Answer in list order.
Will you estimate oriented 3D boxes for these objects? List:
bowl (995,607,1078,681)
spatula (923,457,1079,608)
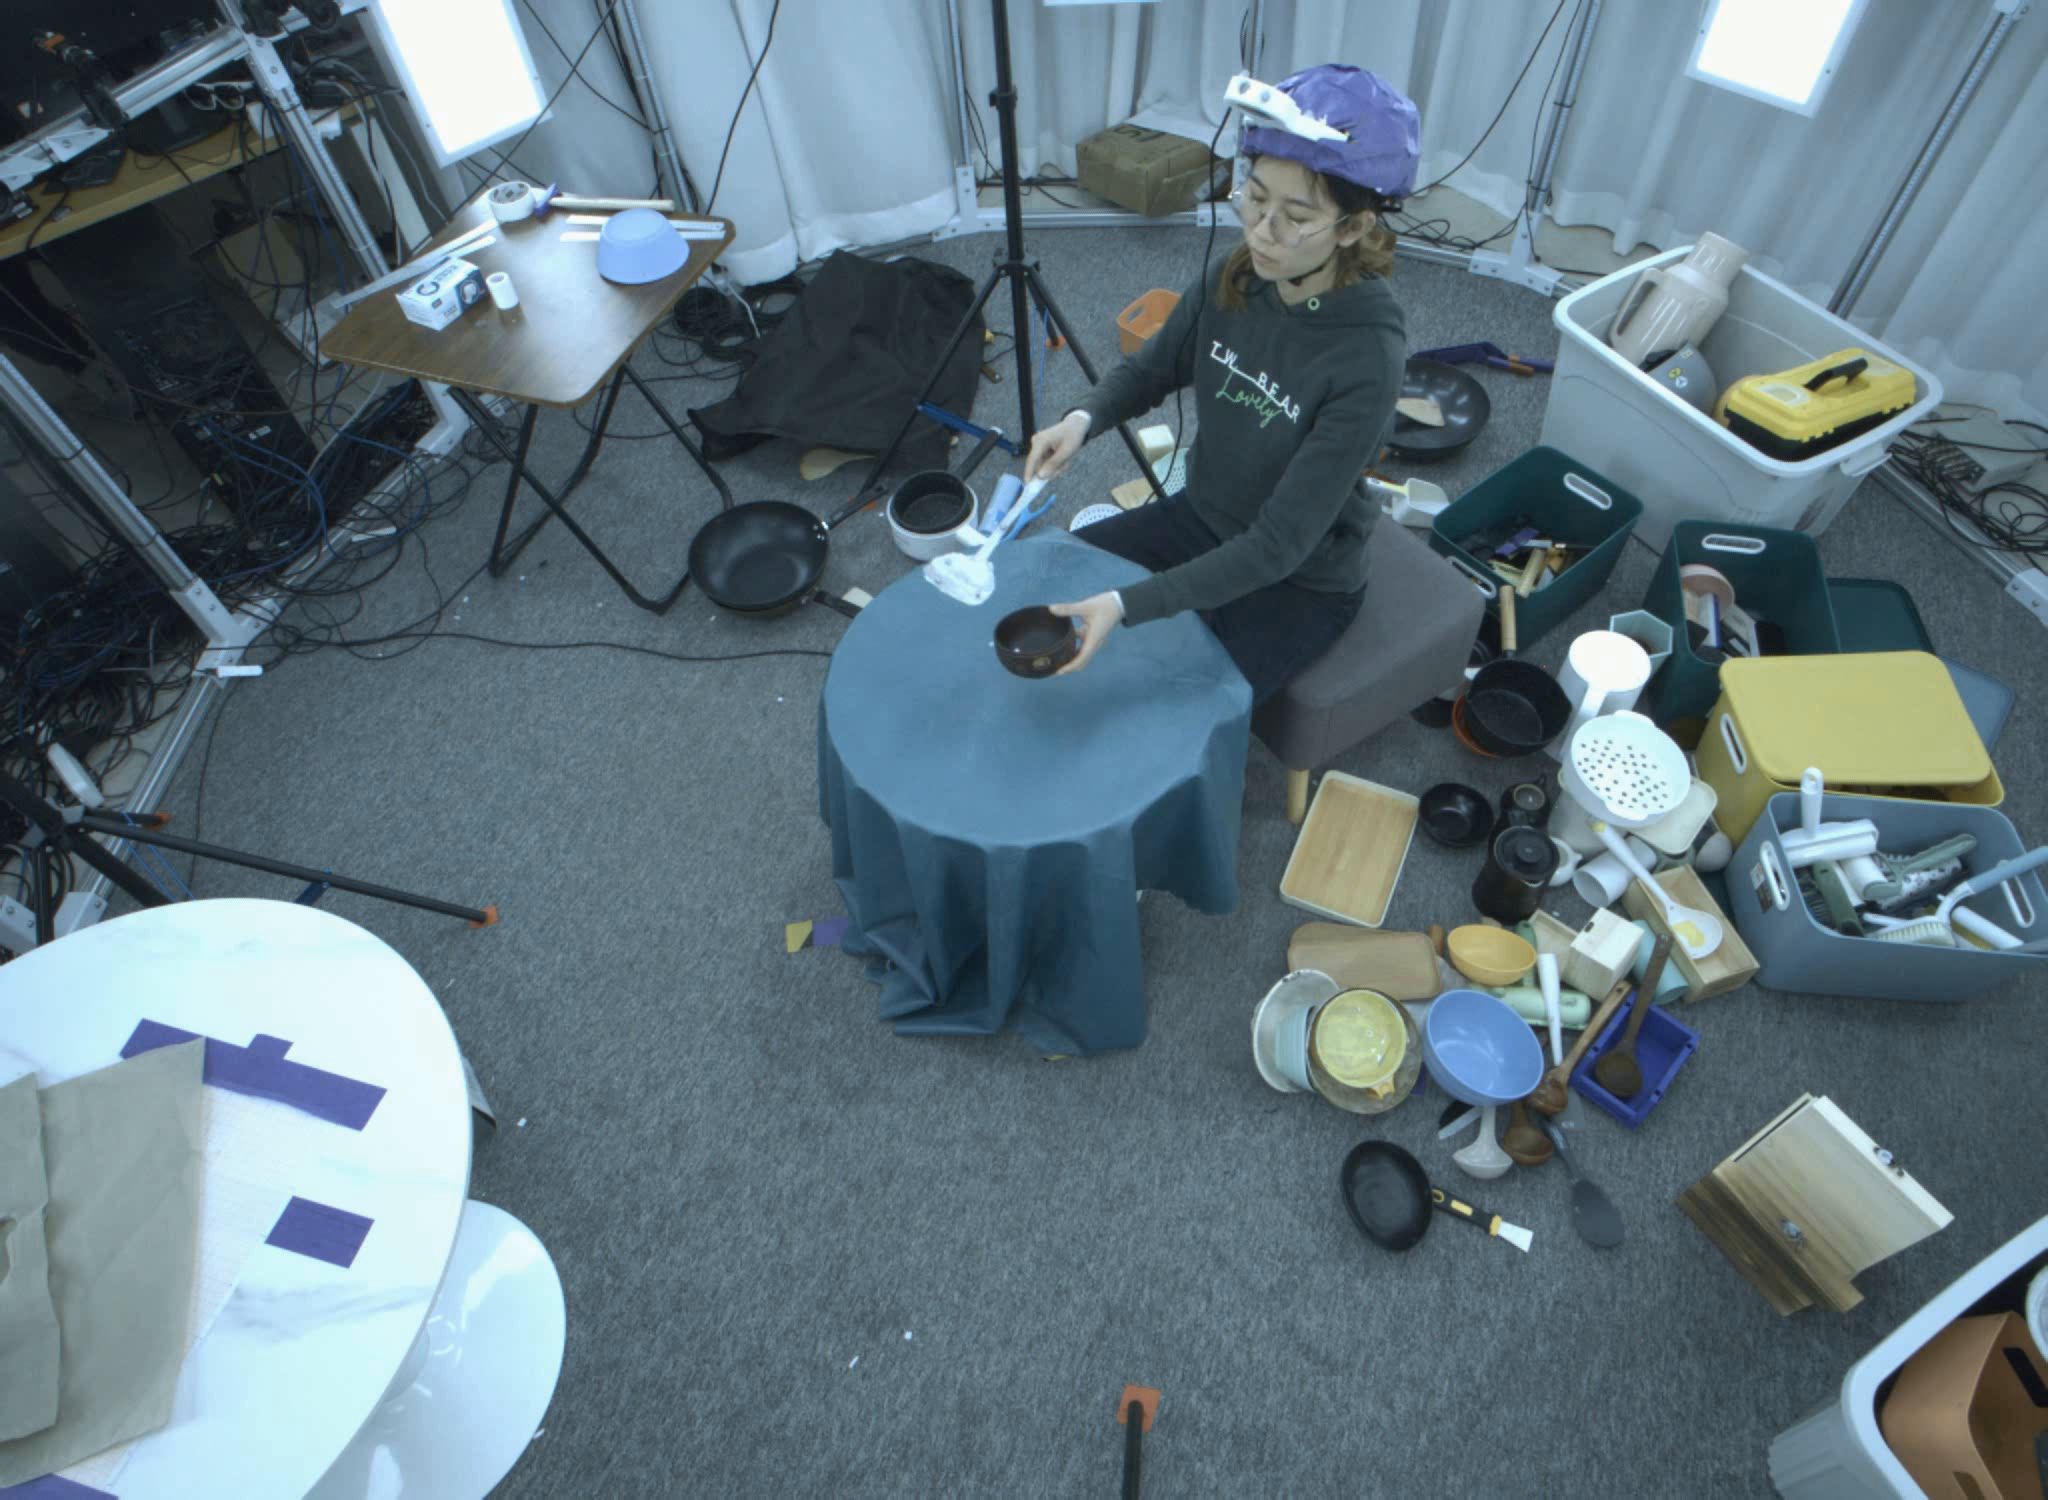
[{"bbox_3d":[0.020,-0.142,1.752,0.118,0.071,0.117,-4,43,5],"label":"bowl"},{"bbox_3d":[-0.018,-0.337,1.803,0.098,0.045,0.366,33,64,6],"label":"spatula"}]
